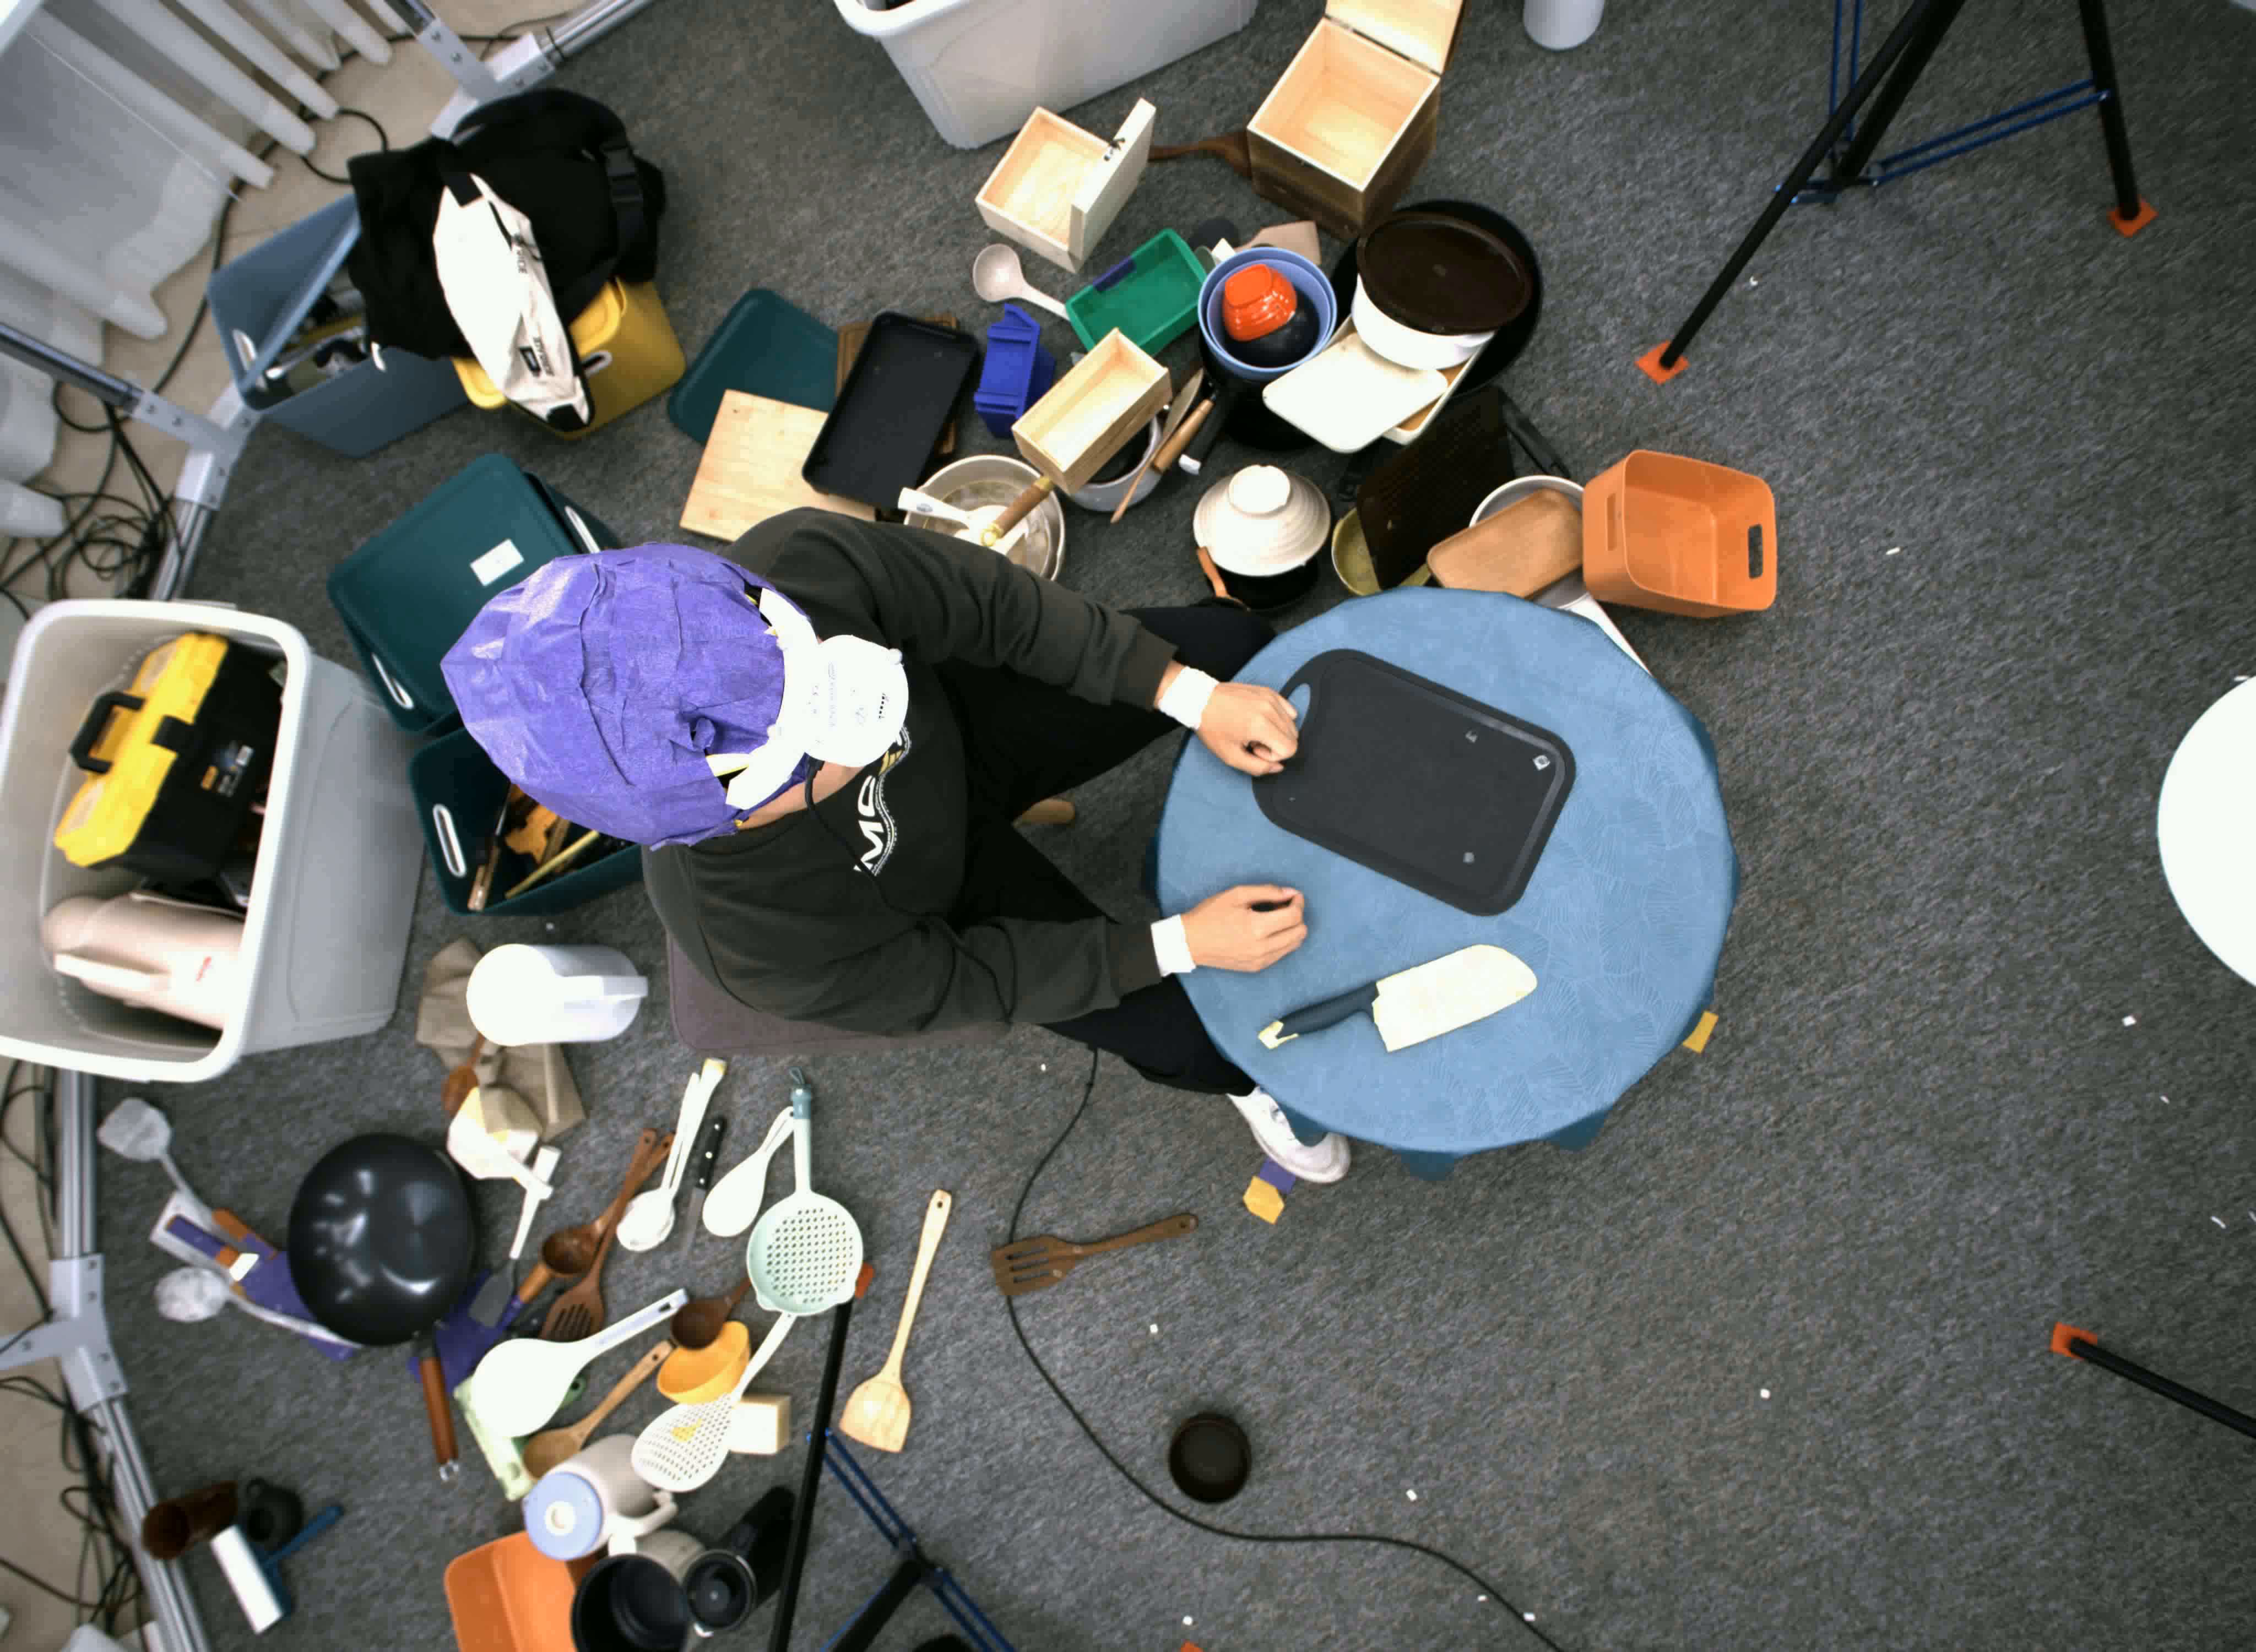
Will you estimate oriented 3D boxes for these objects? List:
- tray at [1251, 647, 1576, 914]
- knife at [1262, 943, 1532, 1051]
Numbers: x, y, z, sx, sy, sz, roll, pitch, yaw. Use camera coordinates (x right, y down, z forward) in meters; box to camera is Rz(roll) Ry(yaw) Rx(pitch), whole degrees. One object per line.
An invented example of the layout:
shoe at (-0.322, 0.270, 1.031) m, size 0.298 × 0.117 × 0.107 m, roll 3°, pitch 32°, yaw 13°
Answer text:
tray at (0.293, -0.056, 1.459) m, size 0.325 × 0.010 × 0.211 m, roll 25°, pitch 92°, yaw 11°
knife at (0.281, 0.190, 1.444) m, size 0.291 × 0.027 × 0.080 m, roll -19°, pitch 82°, yaw 8°
